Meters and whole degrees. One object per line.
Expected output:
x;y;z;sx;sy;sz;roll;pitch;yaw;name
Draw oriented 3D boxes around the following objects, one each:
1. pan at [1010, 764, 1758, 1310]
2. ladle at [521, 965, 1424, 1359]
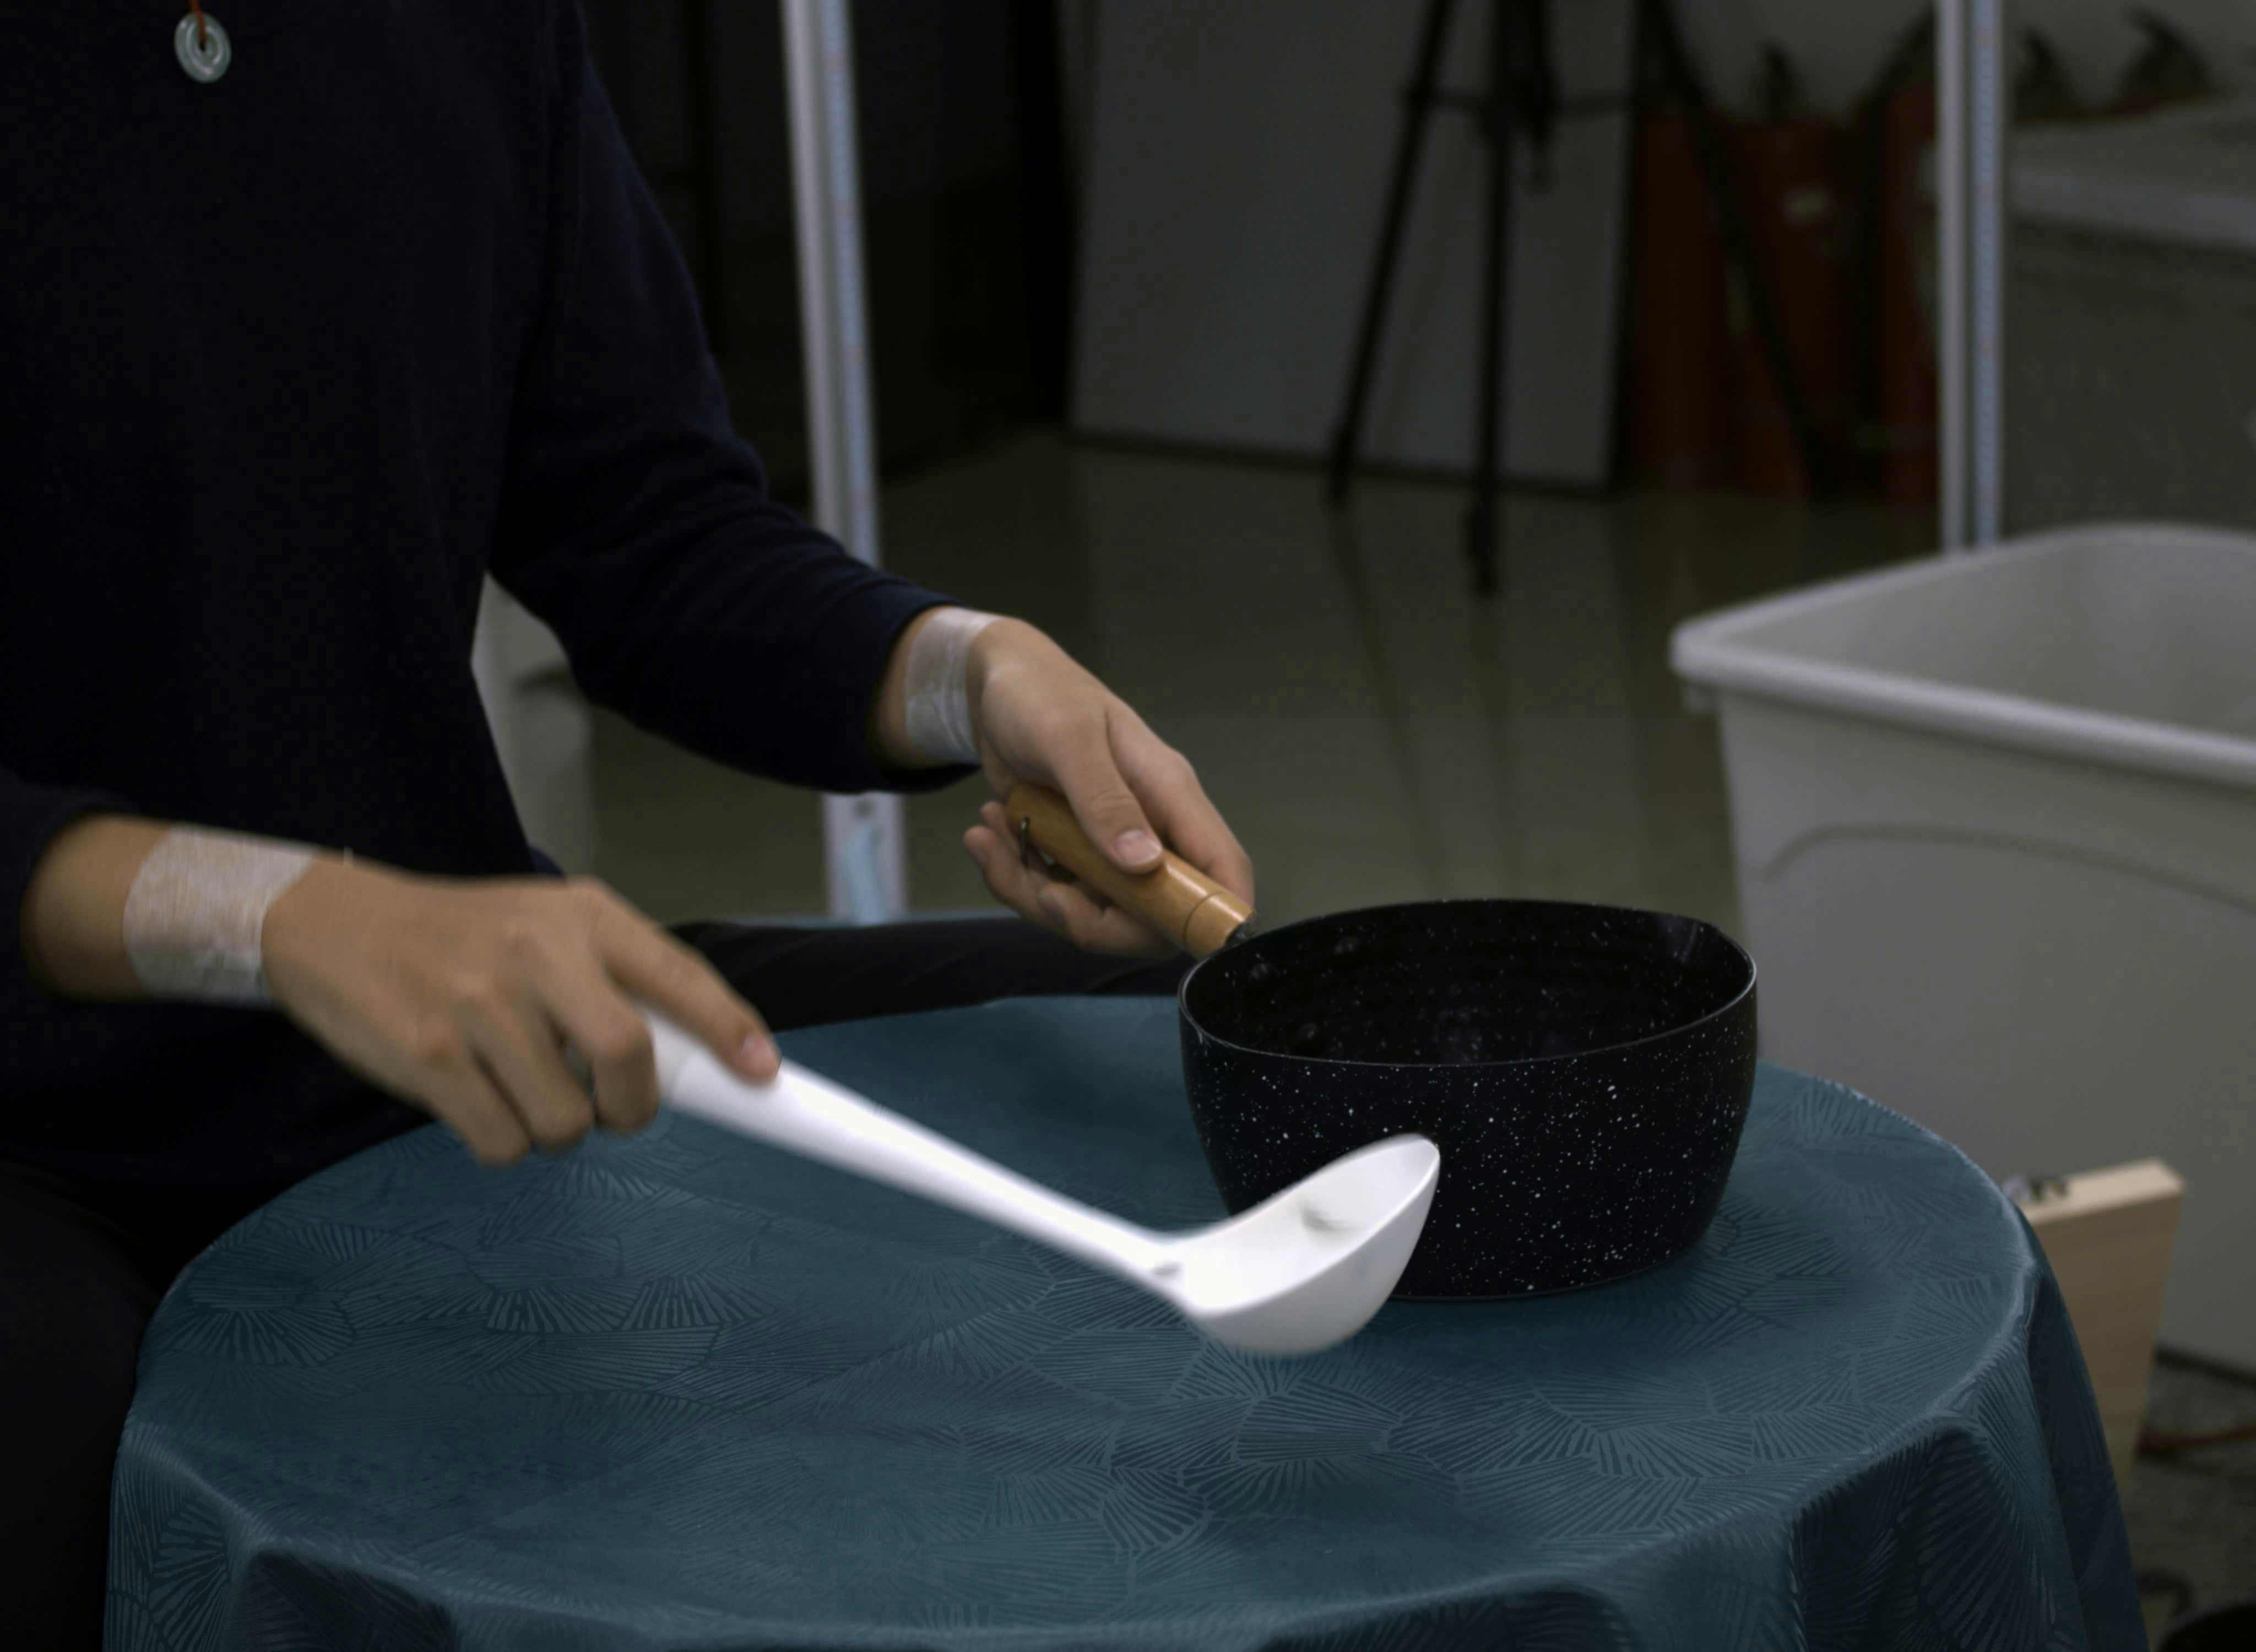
0.062;0.062;1.763;0.203;0.109;0.346;-14;18;-32;pan
-0.050;0.084;1.547;0.294;0.070;0.089;19;46;26;ladle
